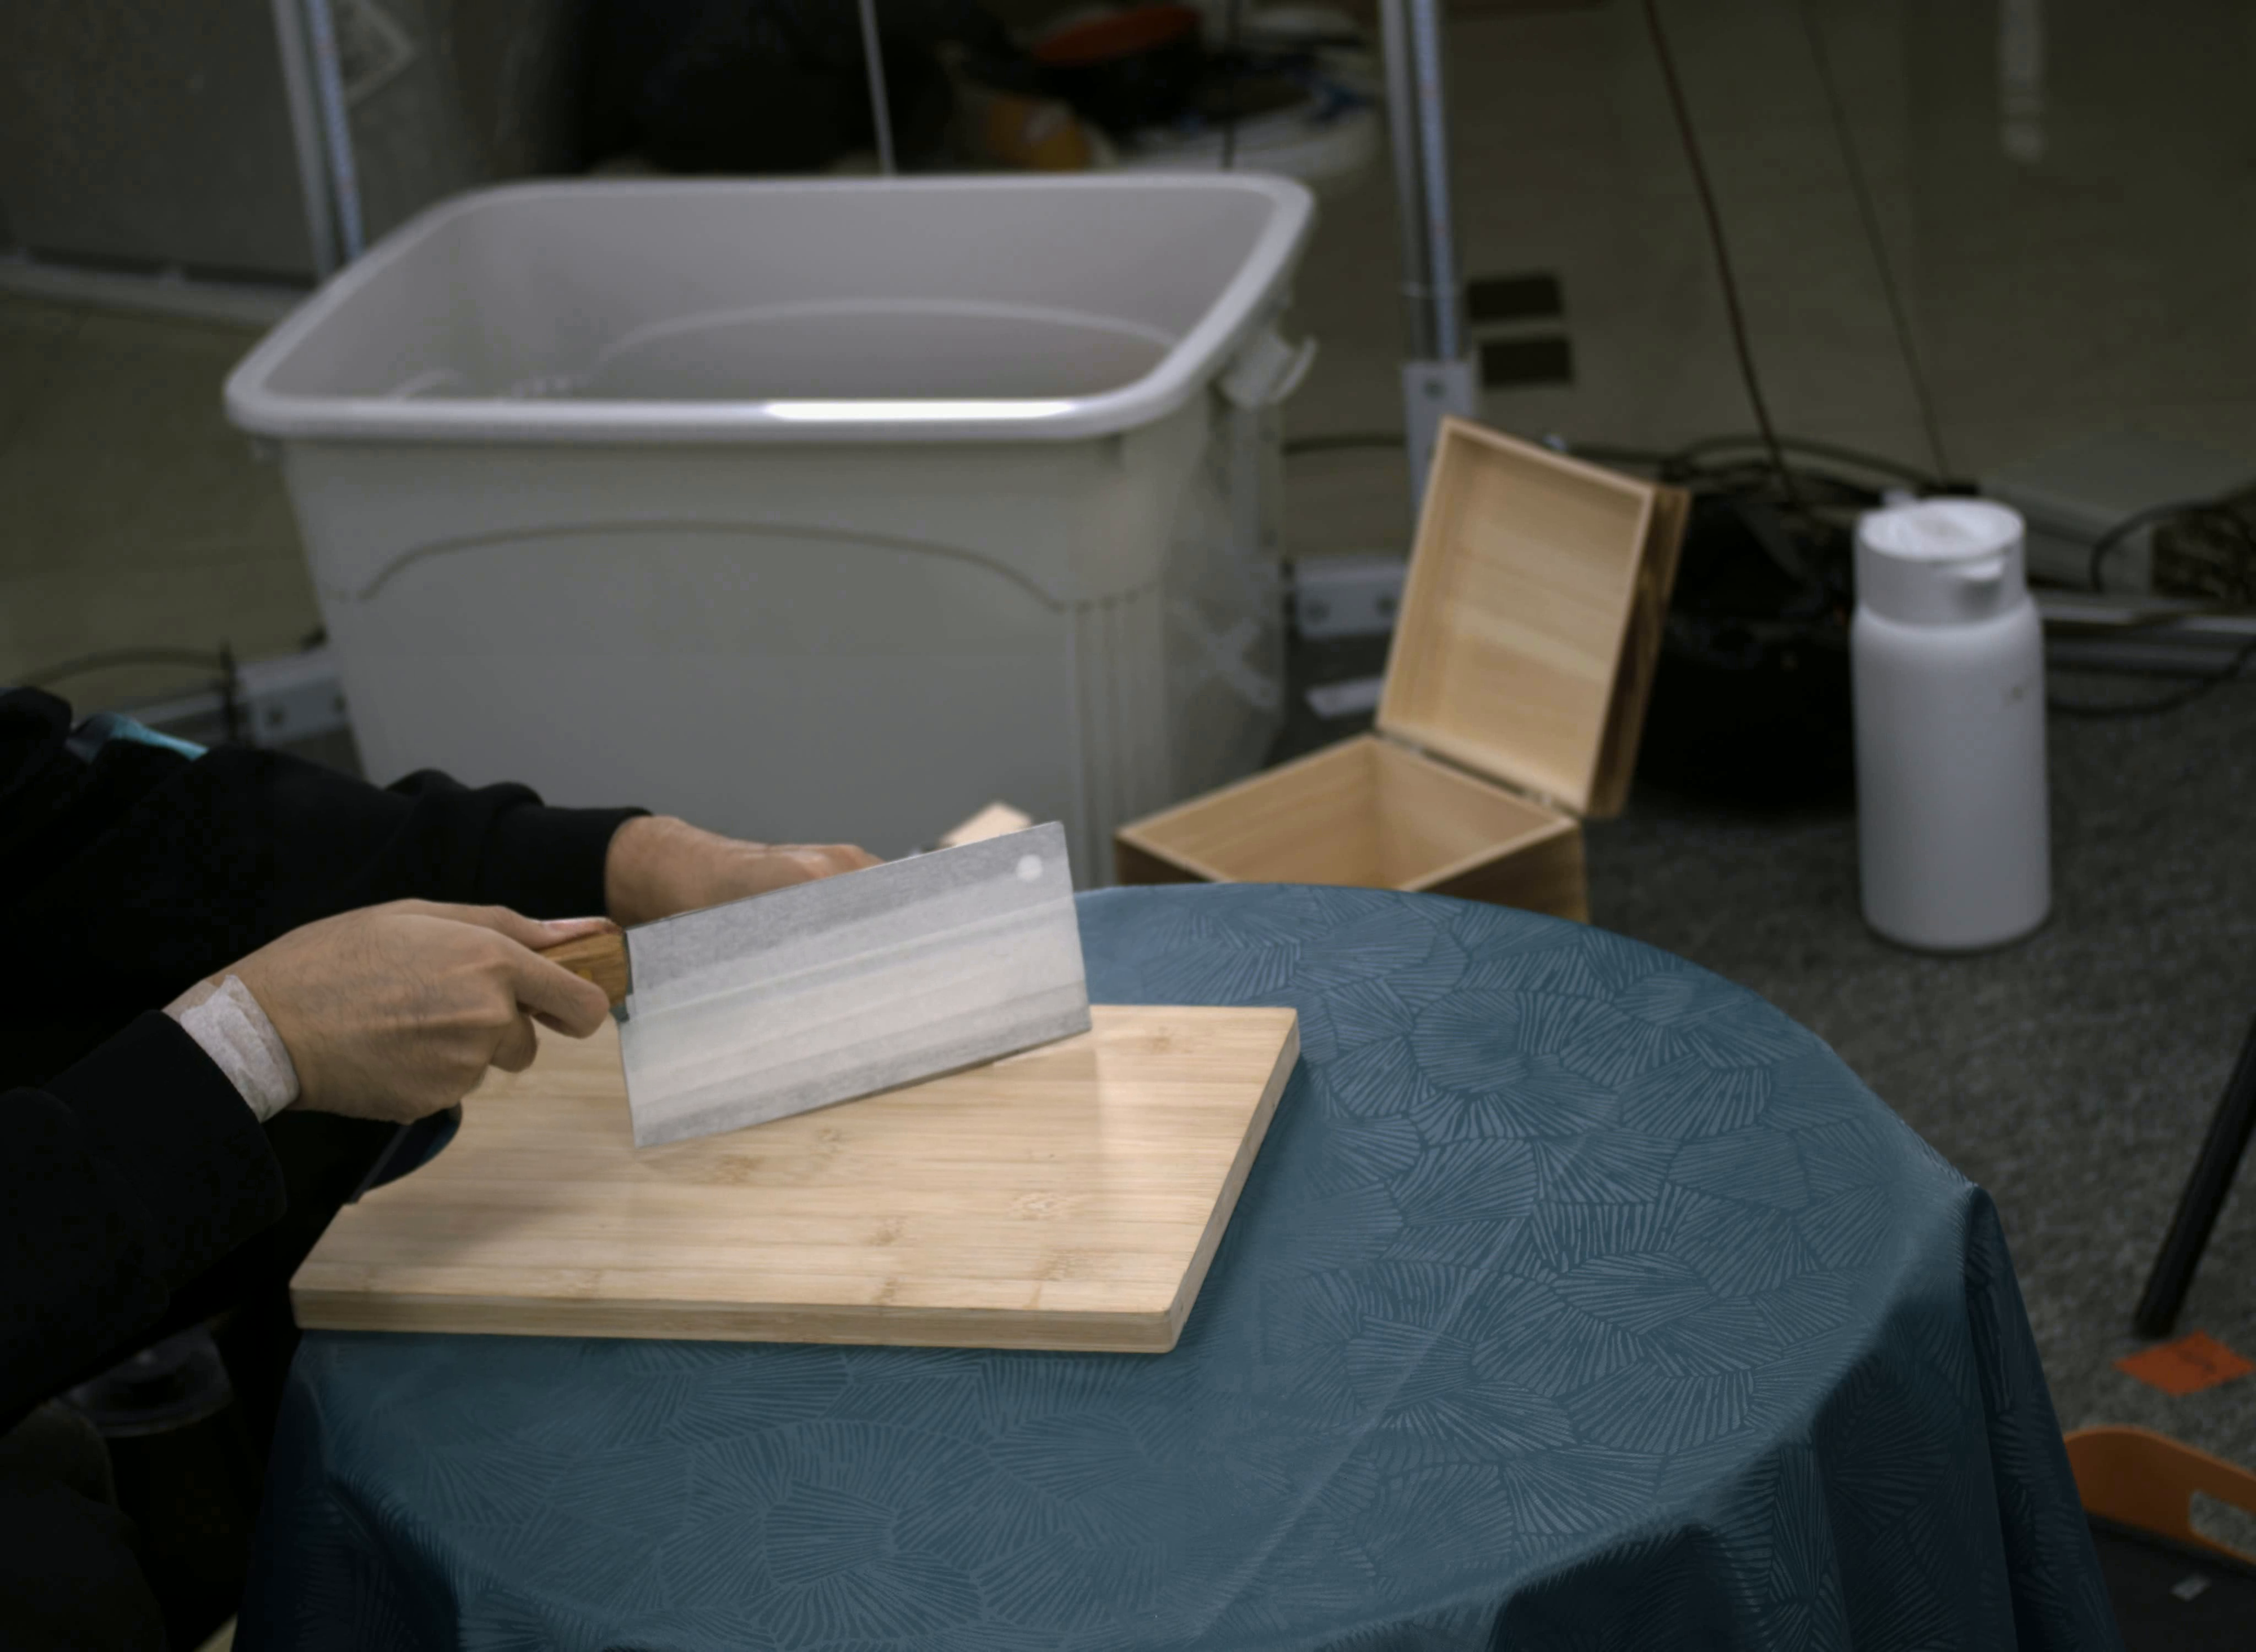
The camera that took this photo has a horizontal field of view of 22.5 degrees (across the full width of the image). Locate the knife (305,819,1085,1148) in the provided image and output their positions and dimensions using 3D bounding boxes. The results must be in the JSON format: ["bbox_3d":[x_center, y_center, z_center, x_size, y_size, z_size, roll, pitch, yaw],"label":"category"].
[{"bbox_3d":[-0.160,0.073,2.165,0.304,0.094,0.021,-14,22,-17],"label":"knife"}]

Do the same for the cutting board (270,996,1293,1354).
[{"bbox_3d":[-0.127,0.130,2.178,0.348,0.024,0.247,0,26,13],"label":"cutting board"}]
